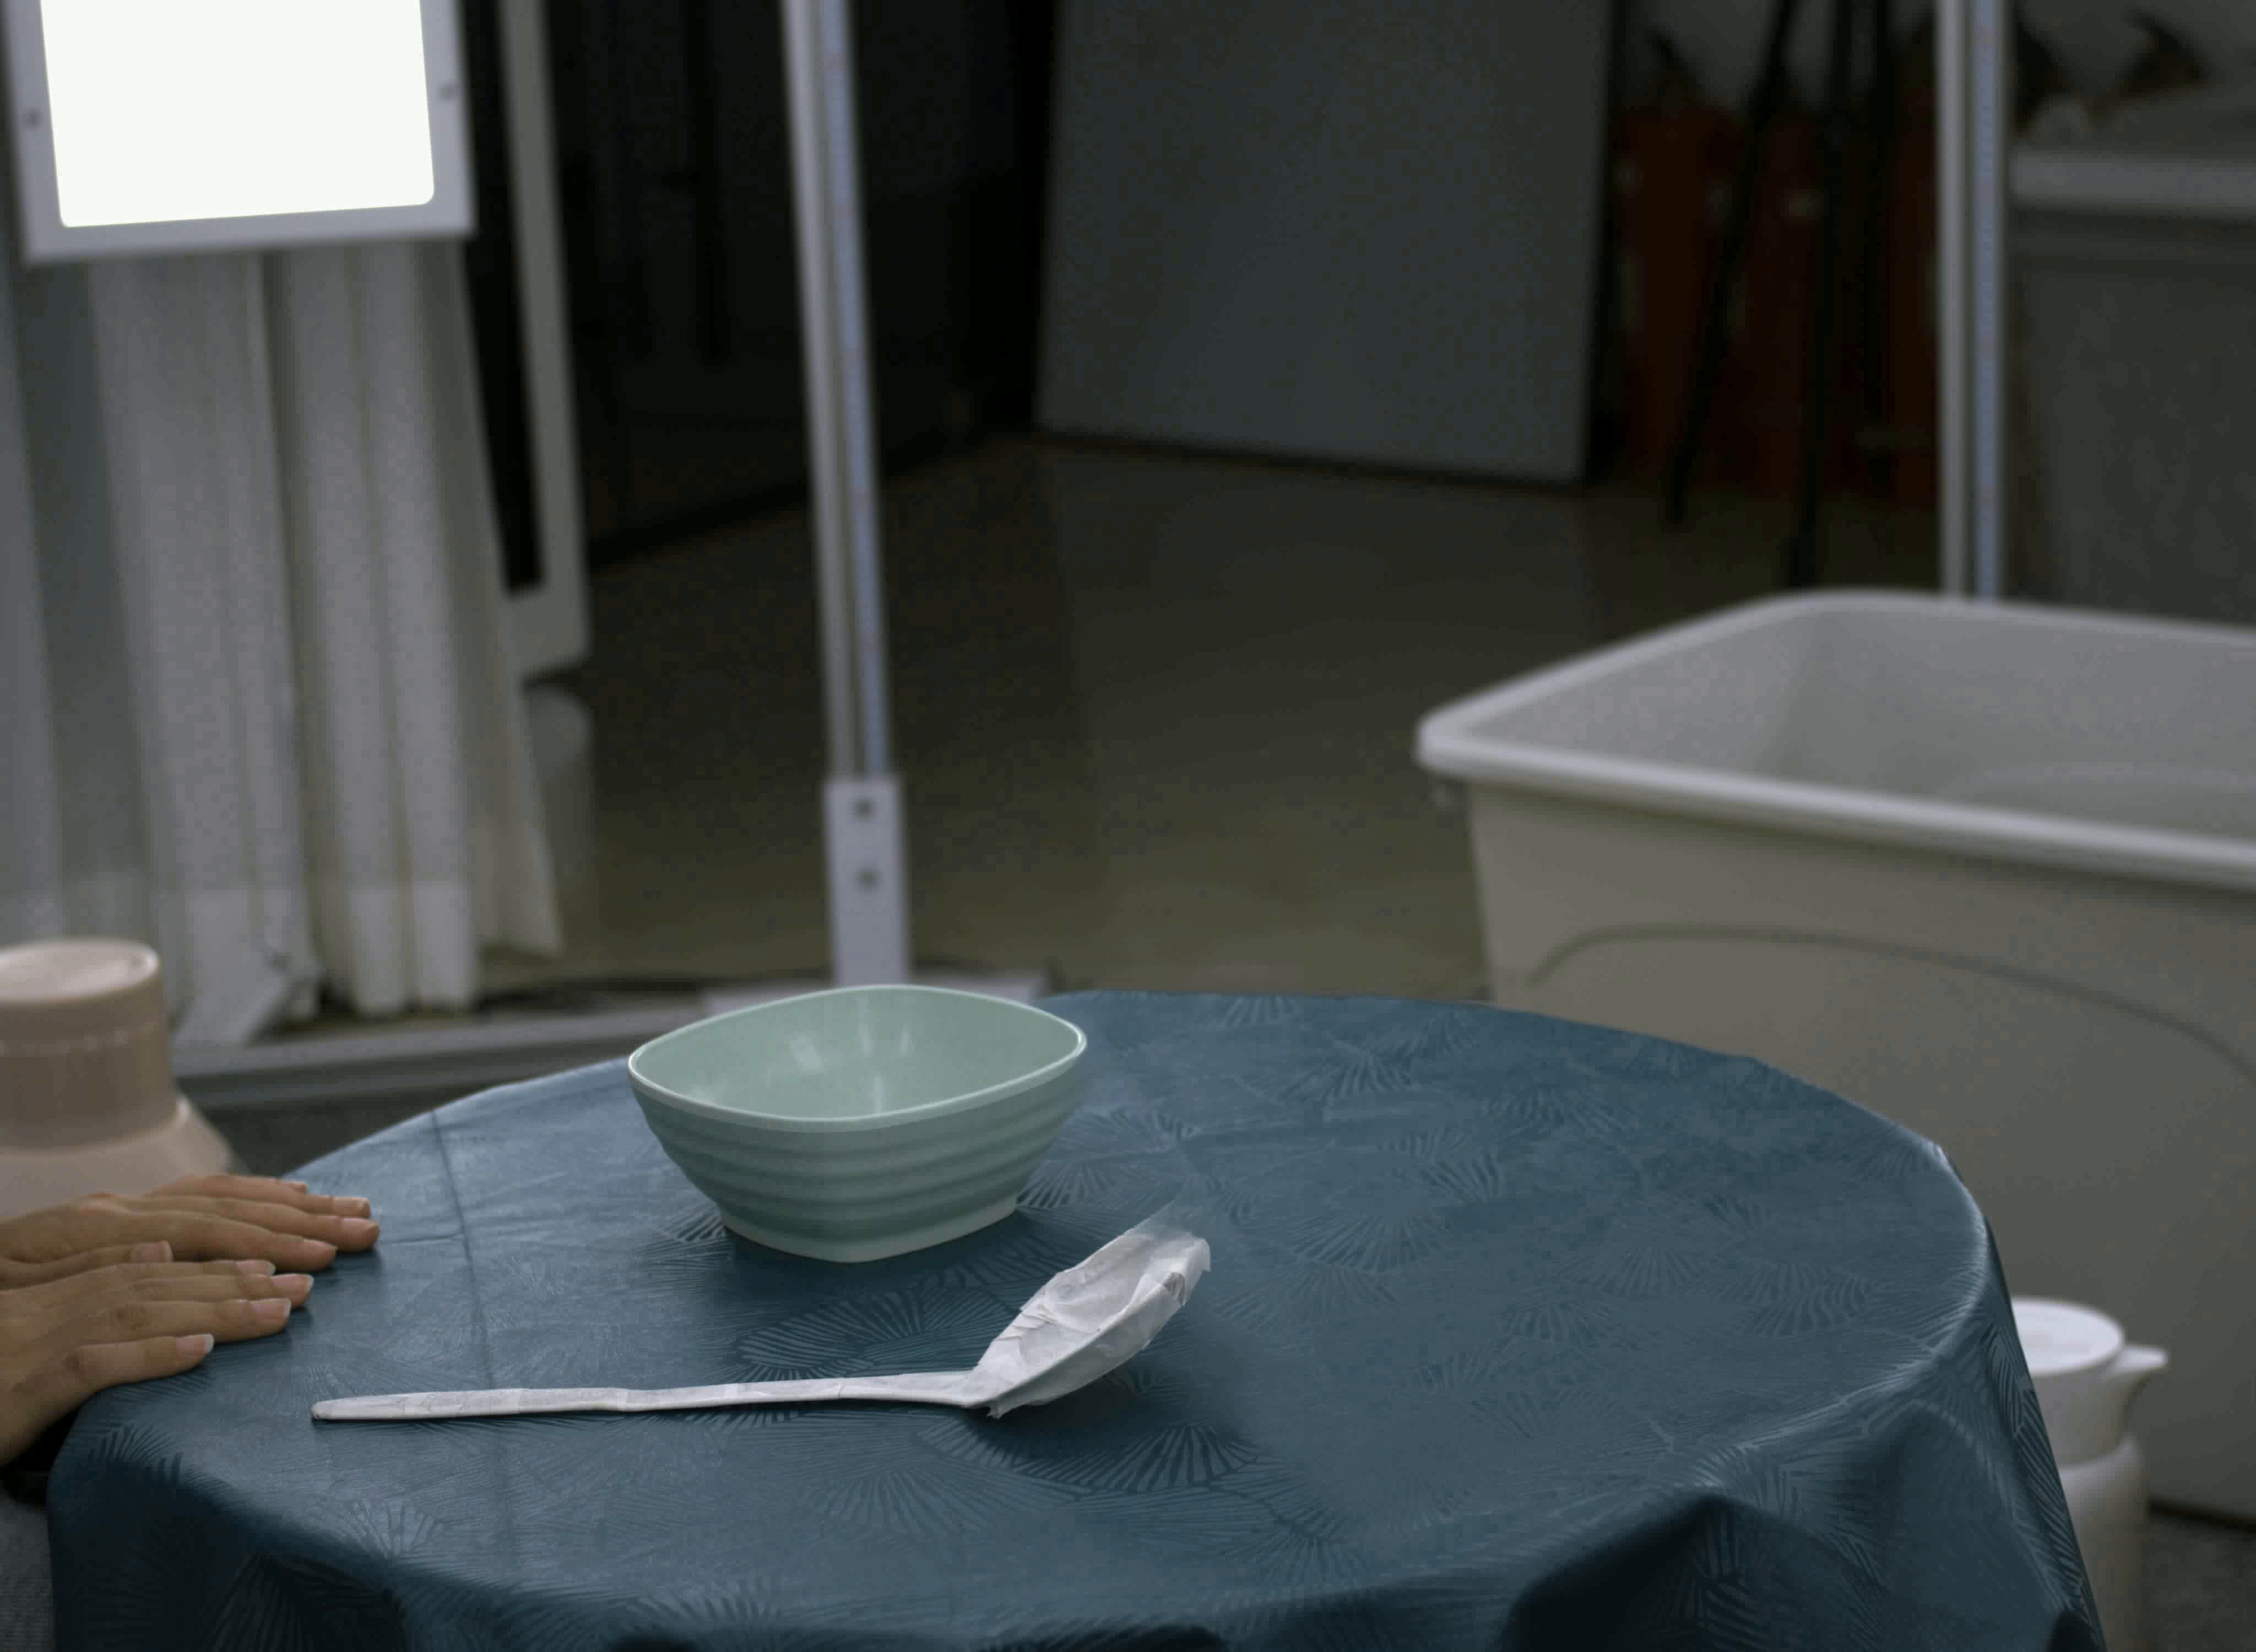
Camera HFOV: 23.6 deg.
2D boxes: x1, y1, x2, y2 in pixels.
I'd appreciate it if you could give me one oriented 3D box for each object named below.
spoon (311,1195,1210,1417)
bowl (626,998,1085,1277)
[{"bbox_3d":[-0.109,0.142,1.599,0.275,0.060,0.100,-2,9,10],"label":"spoon"},{"bbox_3d":[-0.086,0.104,1.757,0.149,0.059,0.152,-4,13,0],"label":"bowl"}]
